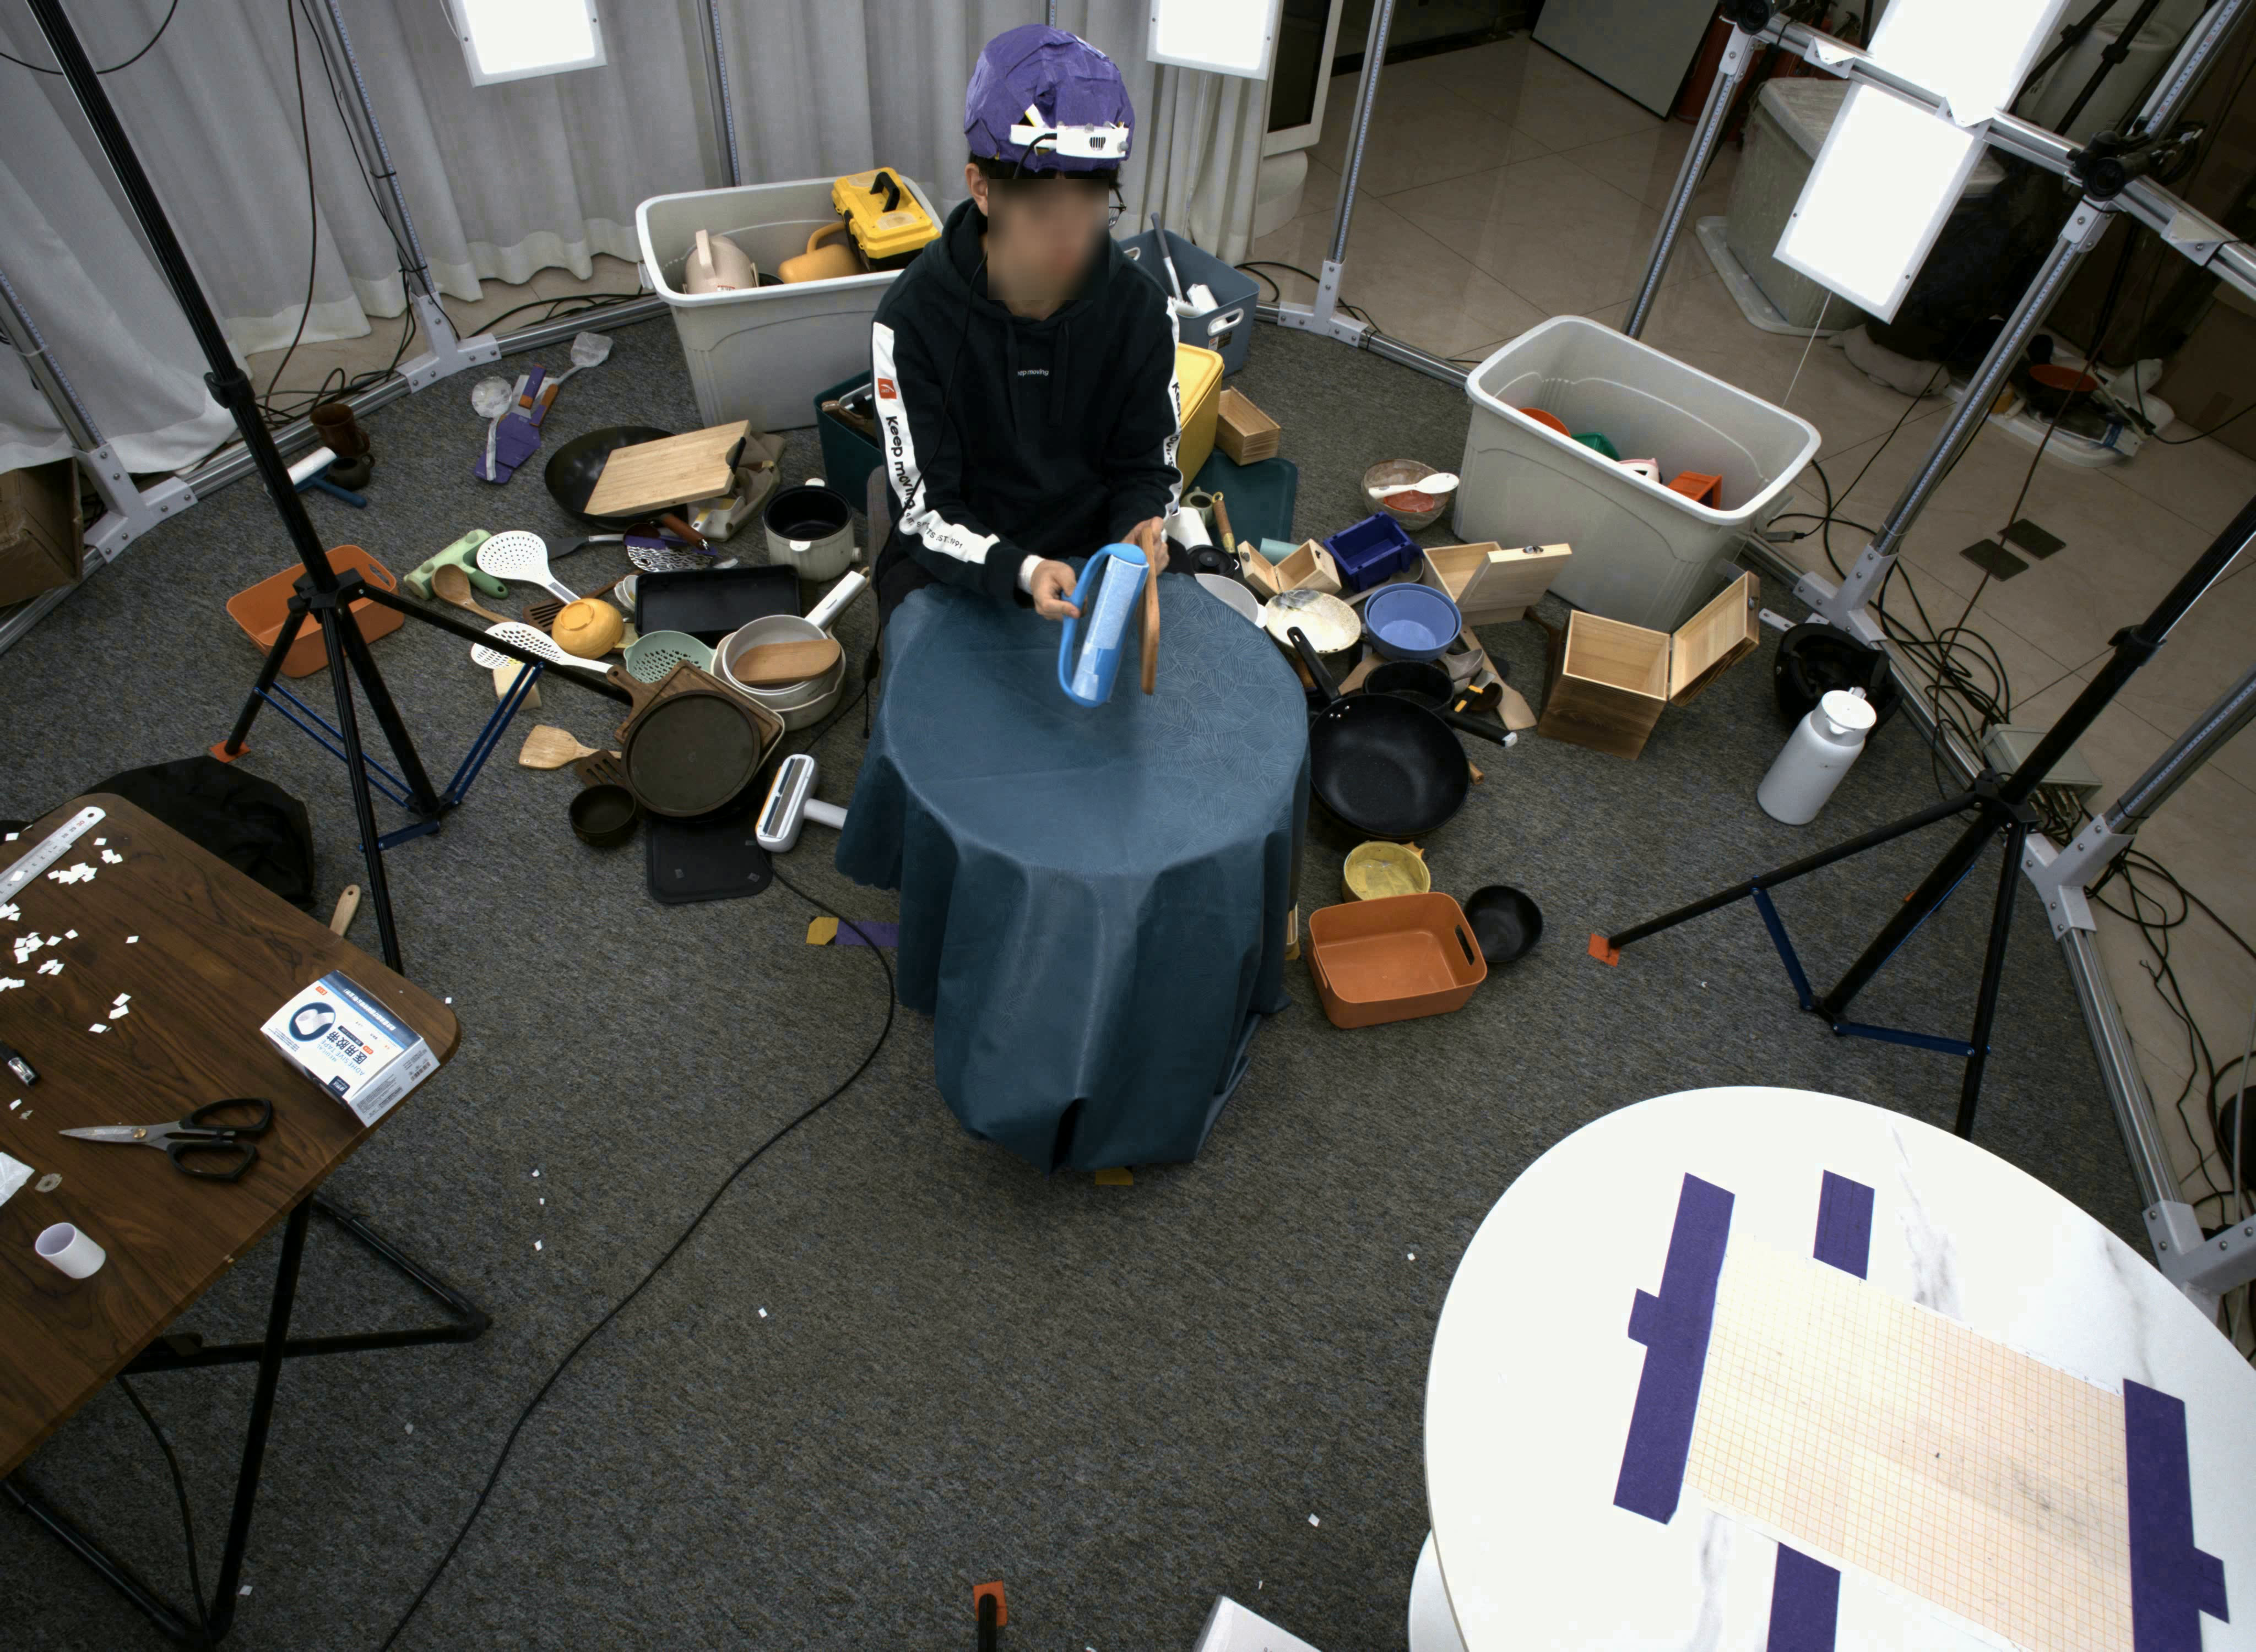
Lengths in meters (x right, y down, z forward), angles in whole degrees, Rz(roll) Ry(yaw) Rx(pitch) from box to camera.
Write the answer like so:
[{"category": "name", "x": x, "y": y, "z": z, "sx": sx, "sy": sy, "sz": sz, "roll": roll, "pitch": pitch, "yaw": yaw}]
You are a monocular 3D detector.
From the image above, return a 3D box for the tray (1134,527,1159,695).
[{"category": "tray", "x": 0.023, "y": -0.294, "z": 1.738, "sx": 0.023, "sy": 0.127, "sz": 0.257, "roll": 4, "pitch": 42, "yaw": -7}]

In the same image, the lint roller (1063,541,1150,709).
[{"category": "lint roller", "x": -0.053, "y": -0.288, "z": 1.735, "sx": 0.067, "sy": 0.225, "sz": 0.184, "roll": -2, "pitch": 26, "yaw": -35}]
